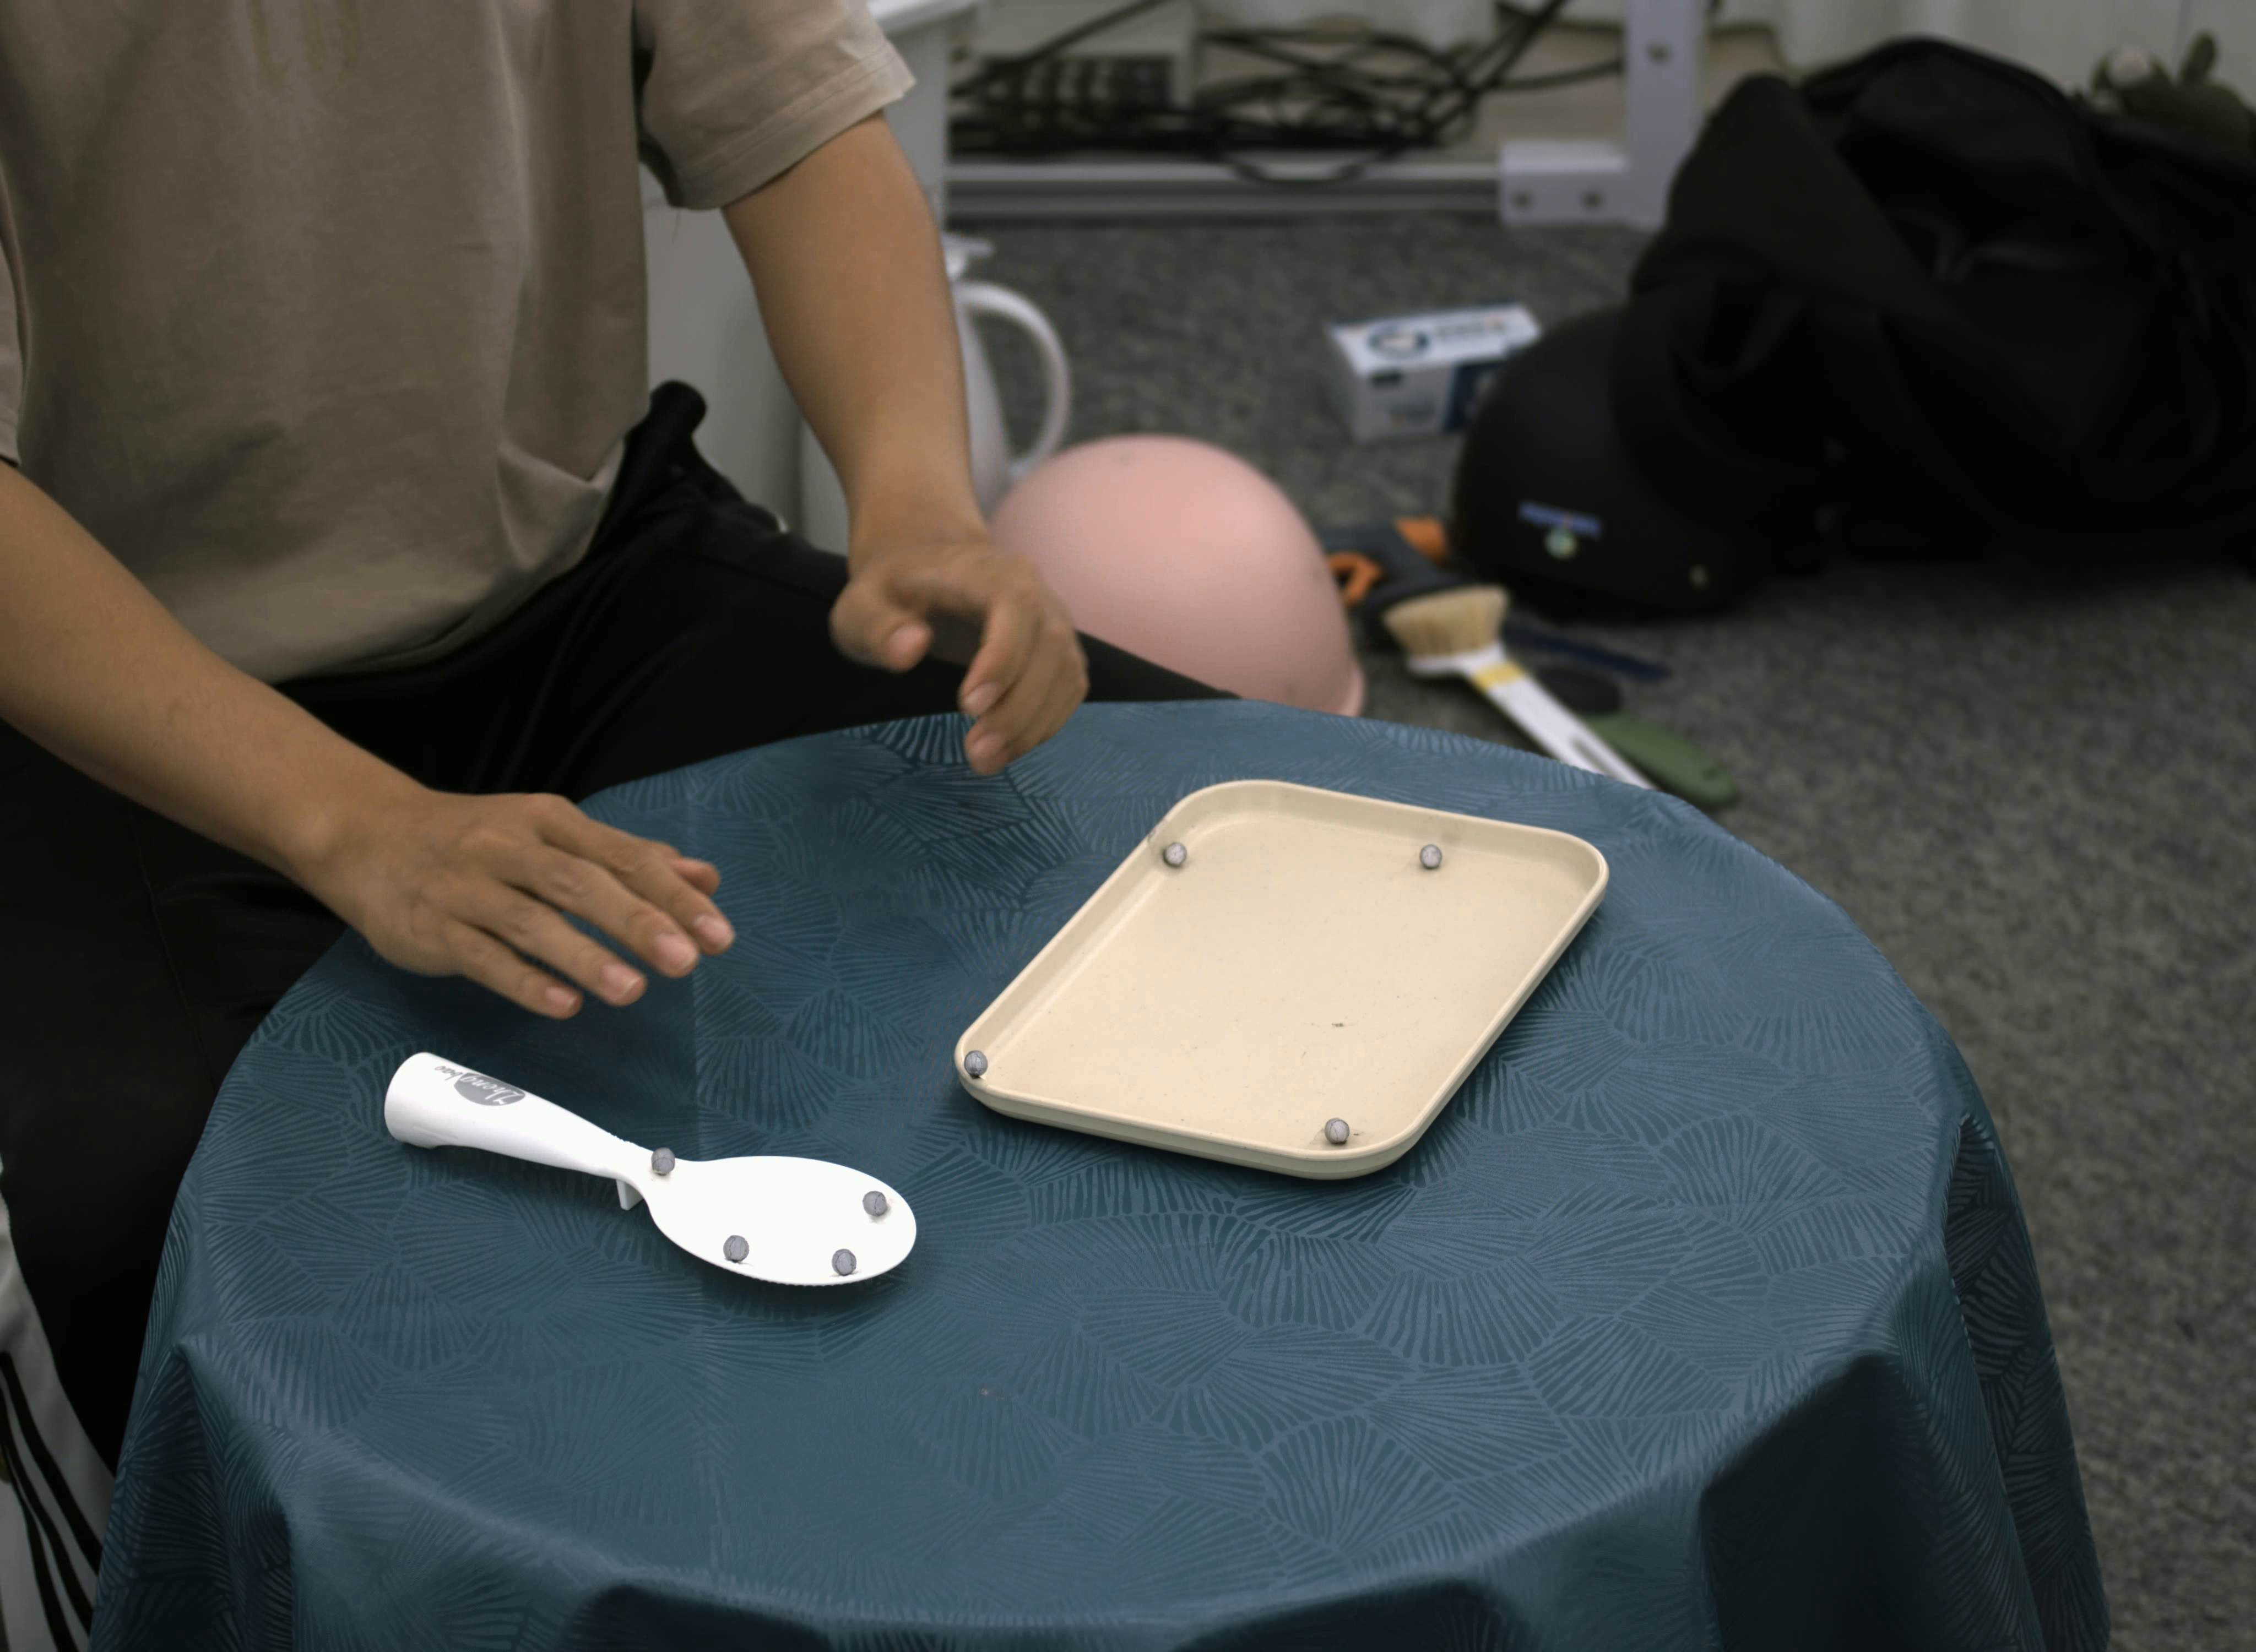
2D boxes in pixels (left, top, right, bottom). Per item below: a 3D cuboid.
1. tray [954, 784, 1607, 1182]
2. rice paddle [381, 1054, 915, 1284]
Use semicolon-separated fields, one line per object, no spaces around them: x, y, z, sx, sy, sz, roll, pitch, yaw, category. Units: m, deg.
0.056;0.054;1.969;0.170;0.017;0.244;11;30;22;tray
-0.159;0.114;1.857;0.204;0.029;0.070;15;33;30;rice paddle
